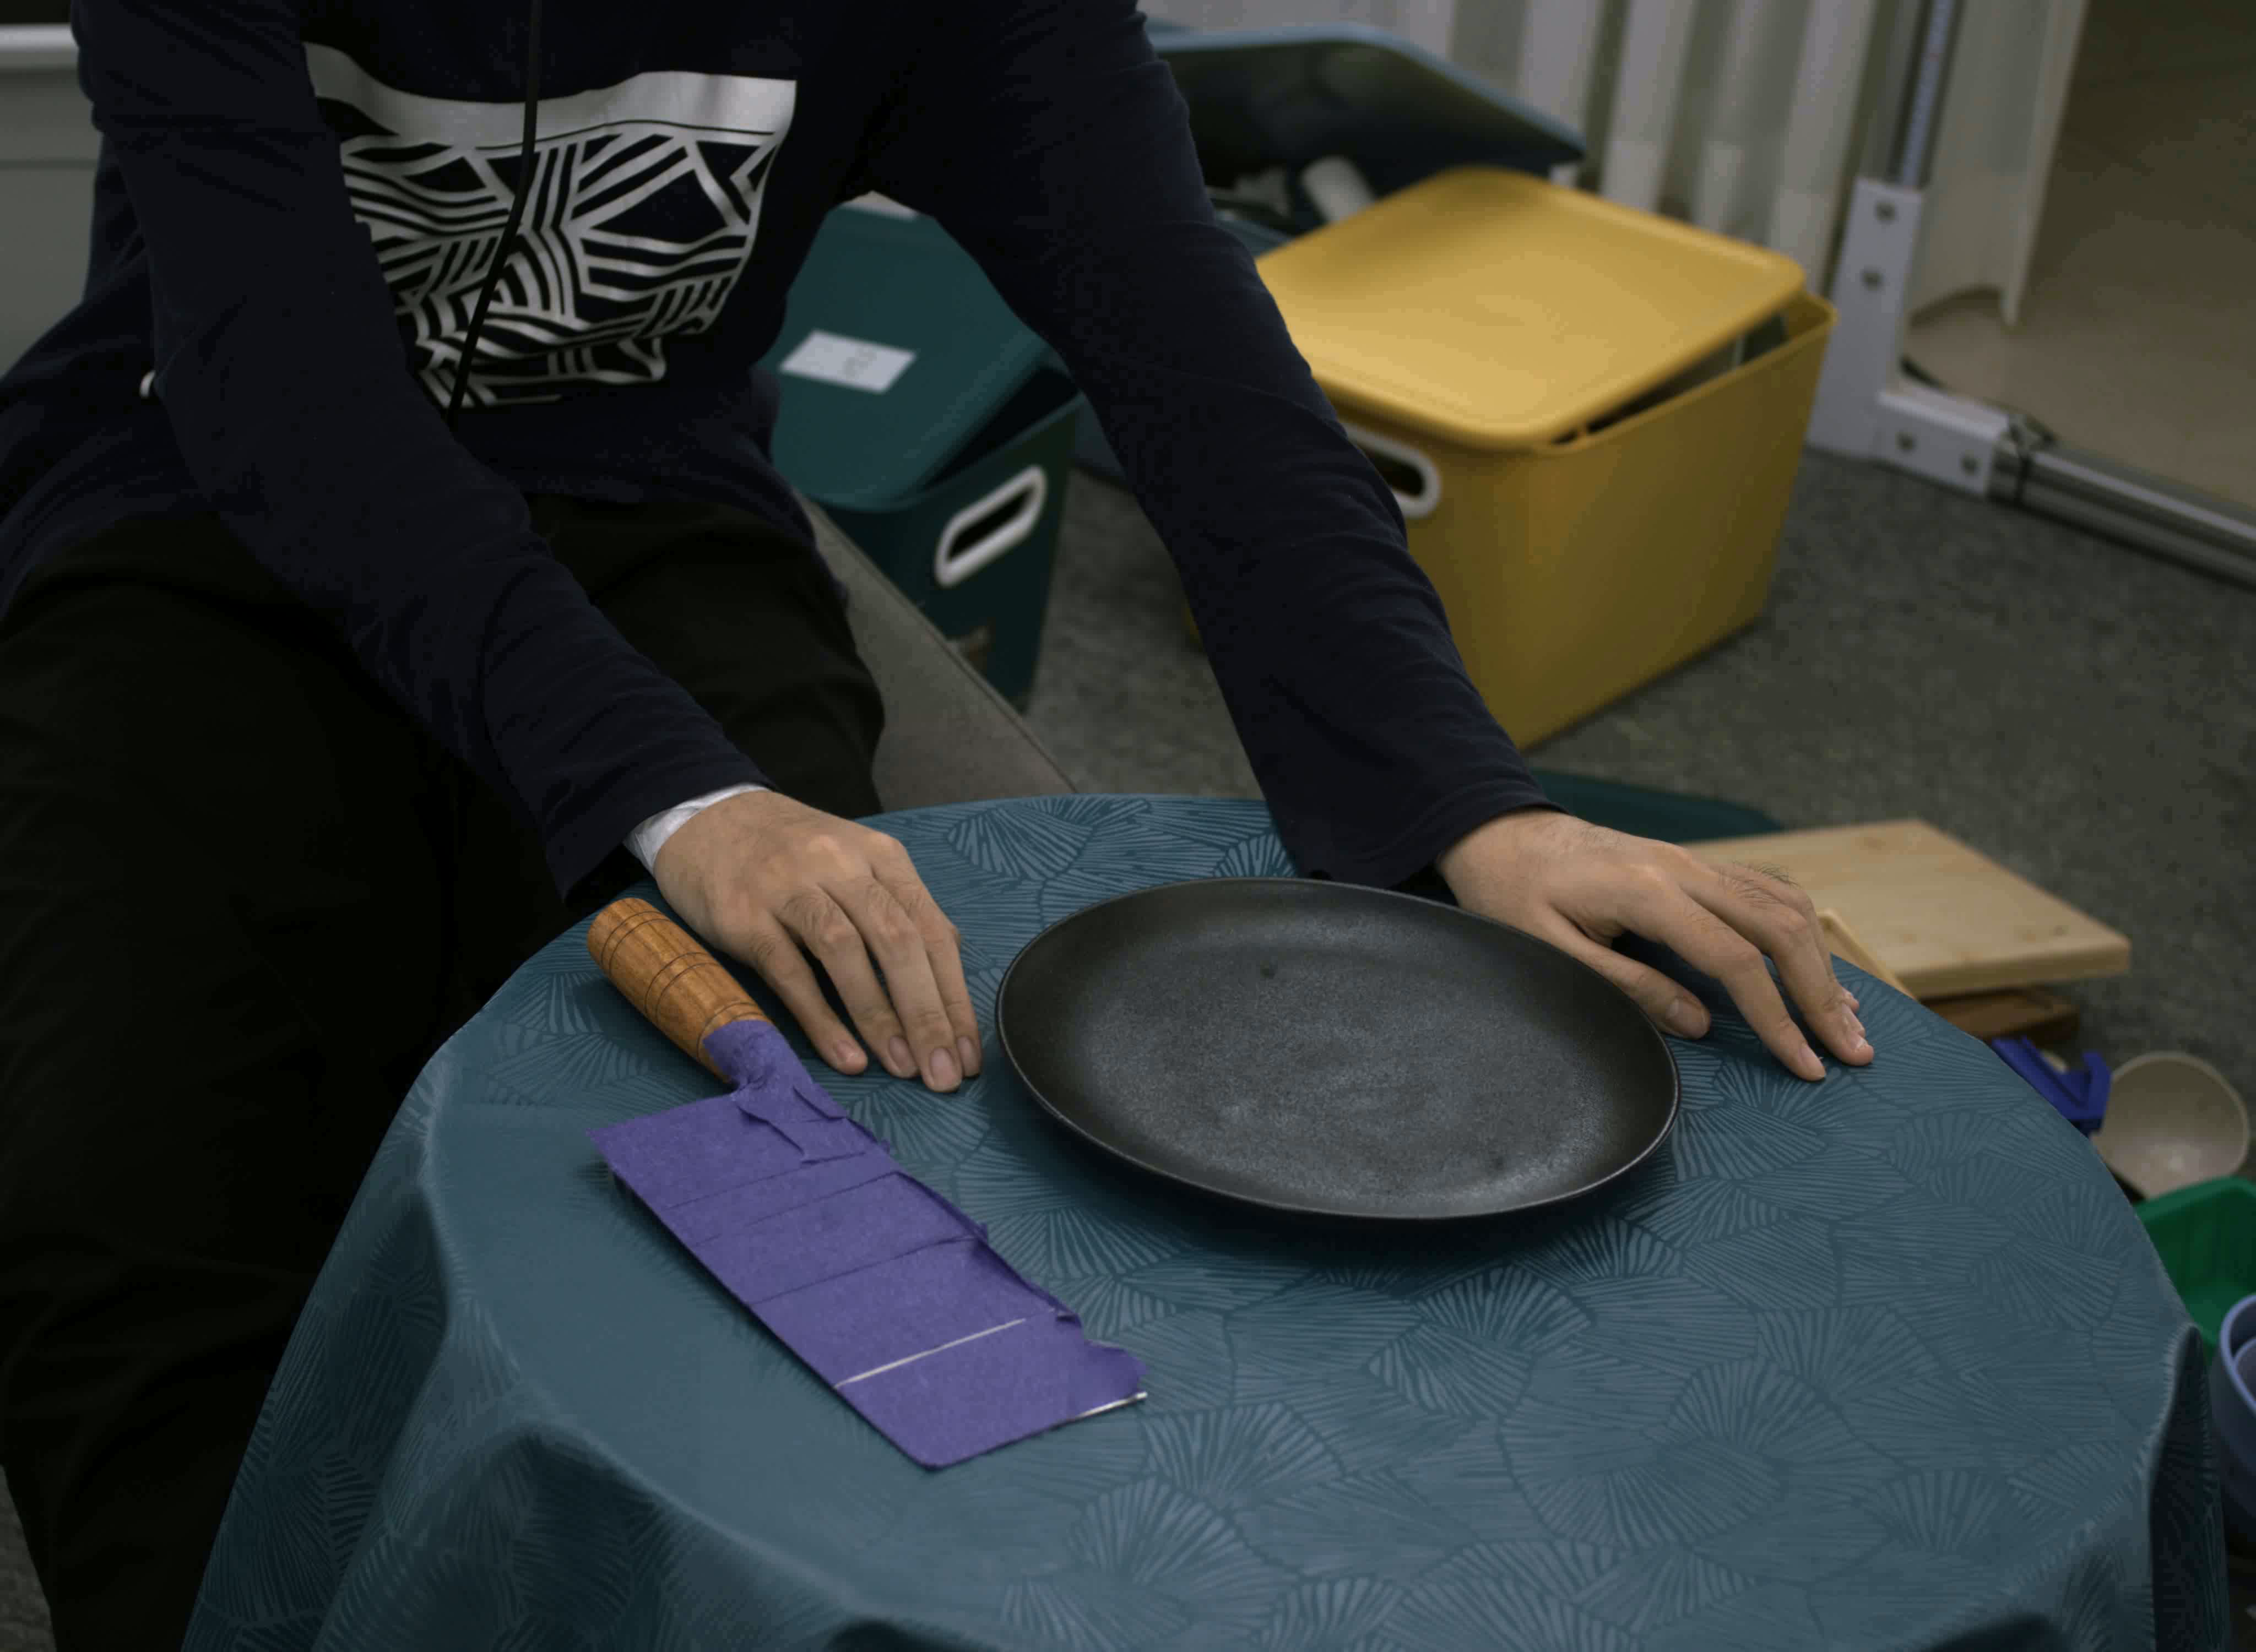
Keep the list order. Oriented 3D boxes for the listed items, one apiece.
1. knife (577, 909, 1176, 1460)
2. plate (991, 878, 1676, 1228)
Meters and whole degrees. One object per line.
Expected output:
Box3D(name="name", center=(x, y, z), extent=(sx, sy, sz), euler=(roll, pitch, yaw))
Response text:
Box3D(name="knife", center=(-0.115, 0.115, 1.768), extent=(0.103, 0.032, 0.318), euler=(-13, 33, -35))
Box3D(name="plate", center=(0.071, 0.084, 1.876), extent=(0.243, 0.023, 0.246), euler=(5, 27, -3))
